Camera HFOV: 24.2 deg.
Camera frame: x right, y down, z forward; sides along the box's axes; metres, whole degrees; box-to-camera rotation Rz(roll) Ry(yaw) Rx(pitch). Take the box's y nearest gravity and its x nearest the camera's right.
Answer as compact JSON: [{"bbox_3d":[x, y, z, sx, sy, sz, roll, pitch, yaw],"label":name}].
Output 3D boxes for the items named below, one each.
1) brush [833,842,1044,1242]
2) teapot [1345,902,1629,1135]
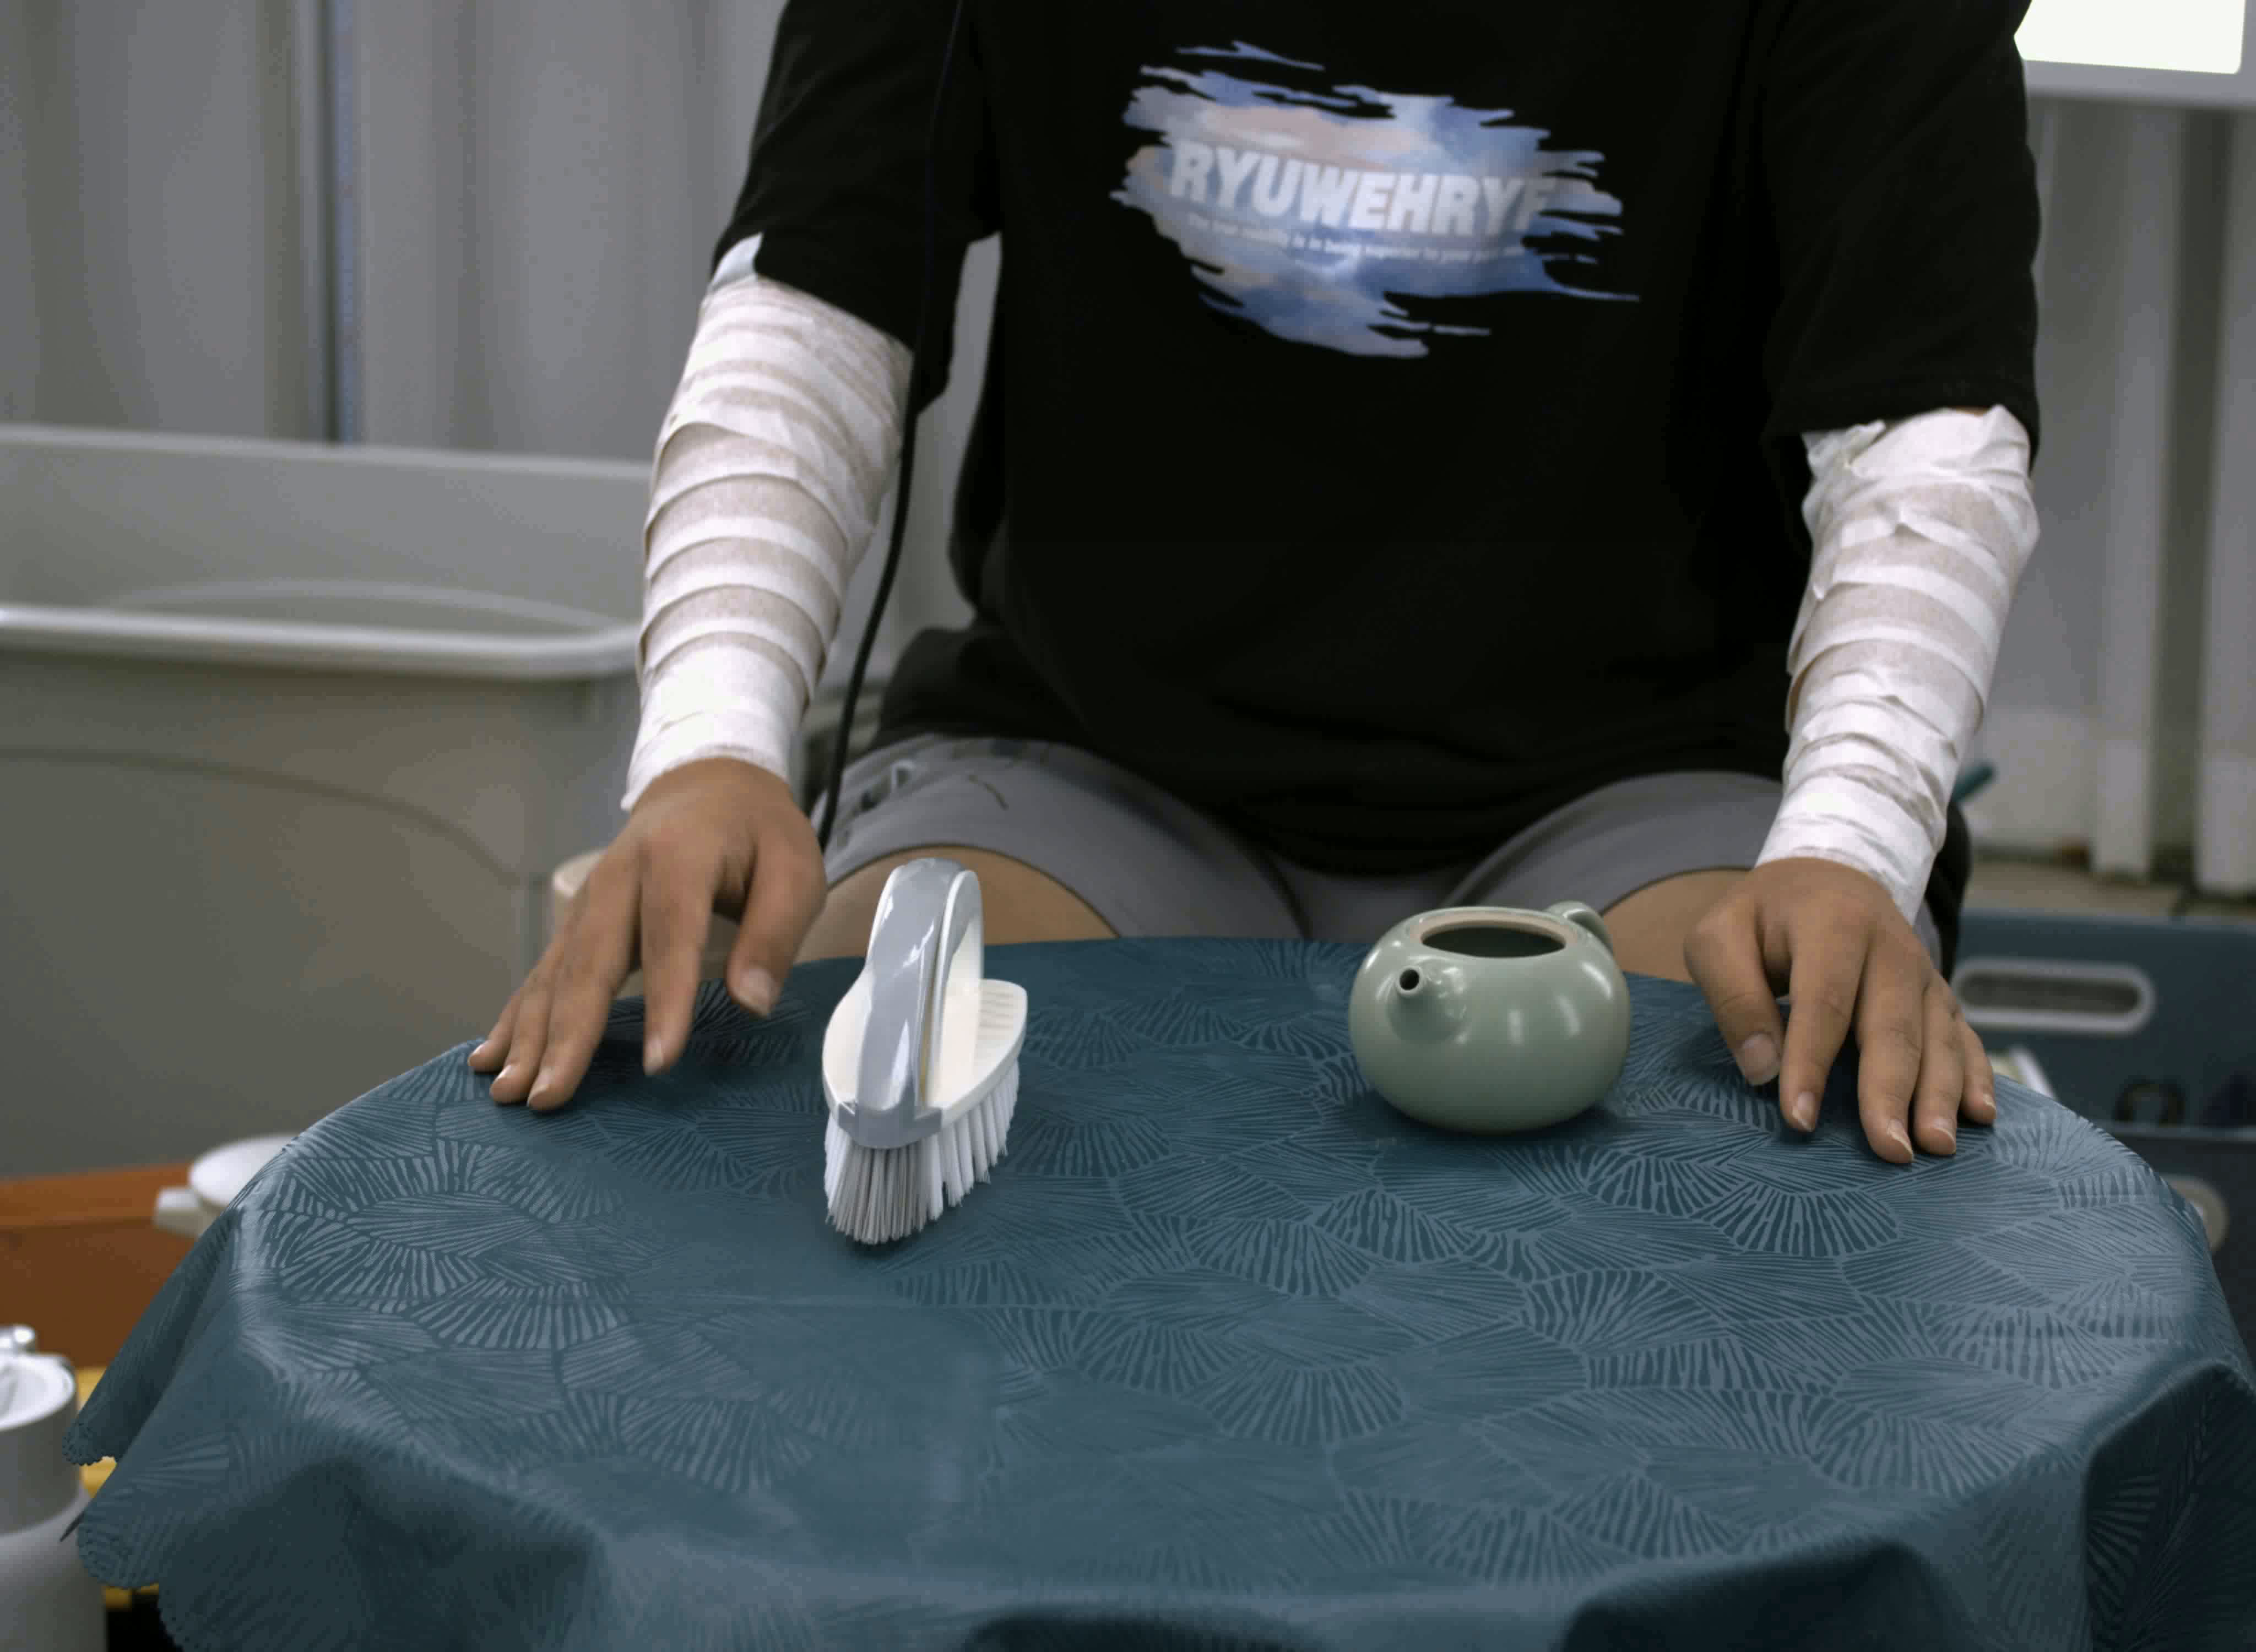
[{"bbox_3d":[-0.064,0.061,1.634,0.061,0.095,0.175,-1,16,7],"label":"brush"},{"bbox_3d":[0.122,0.061,1.704,0.090,0.061,0.129,10,18,37],"label":"teapot"}]
